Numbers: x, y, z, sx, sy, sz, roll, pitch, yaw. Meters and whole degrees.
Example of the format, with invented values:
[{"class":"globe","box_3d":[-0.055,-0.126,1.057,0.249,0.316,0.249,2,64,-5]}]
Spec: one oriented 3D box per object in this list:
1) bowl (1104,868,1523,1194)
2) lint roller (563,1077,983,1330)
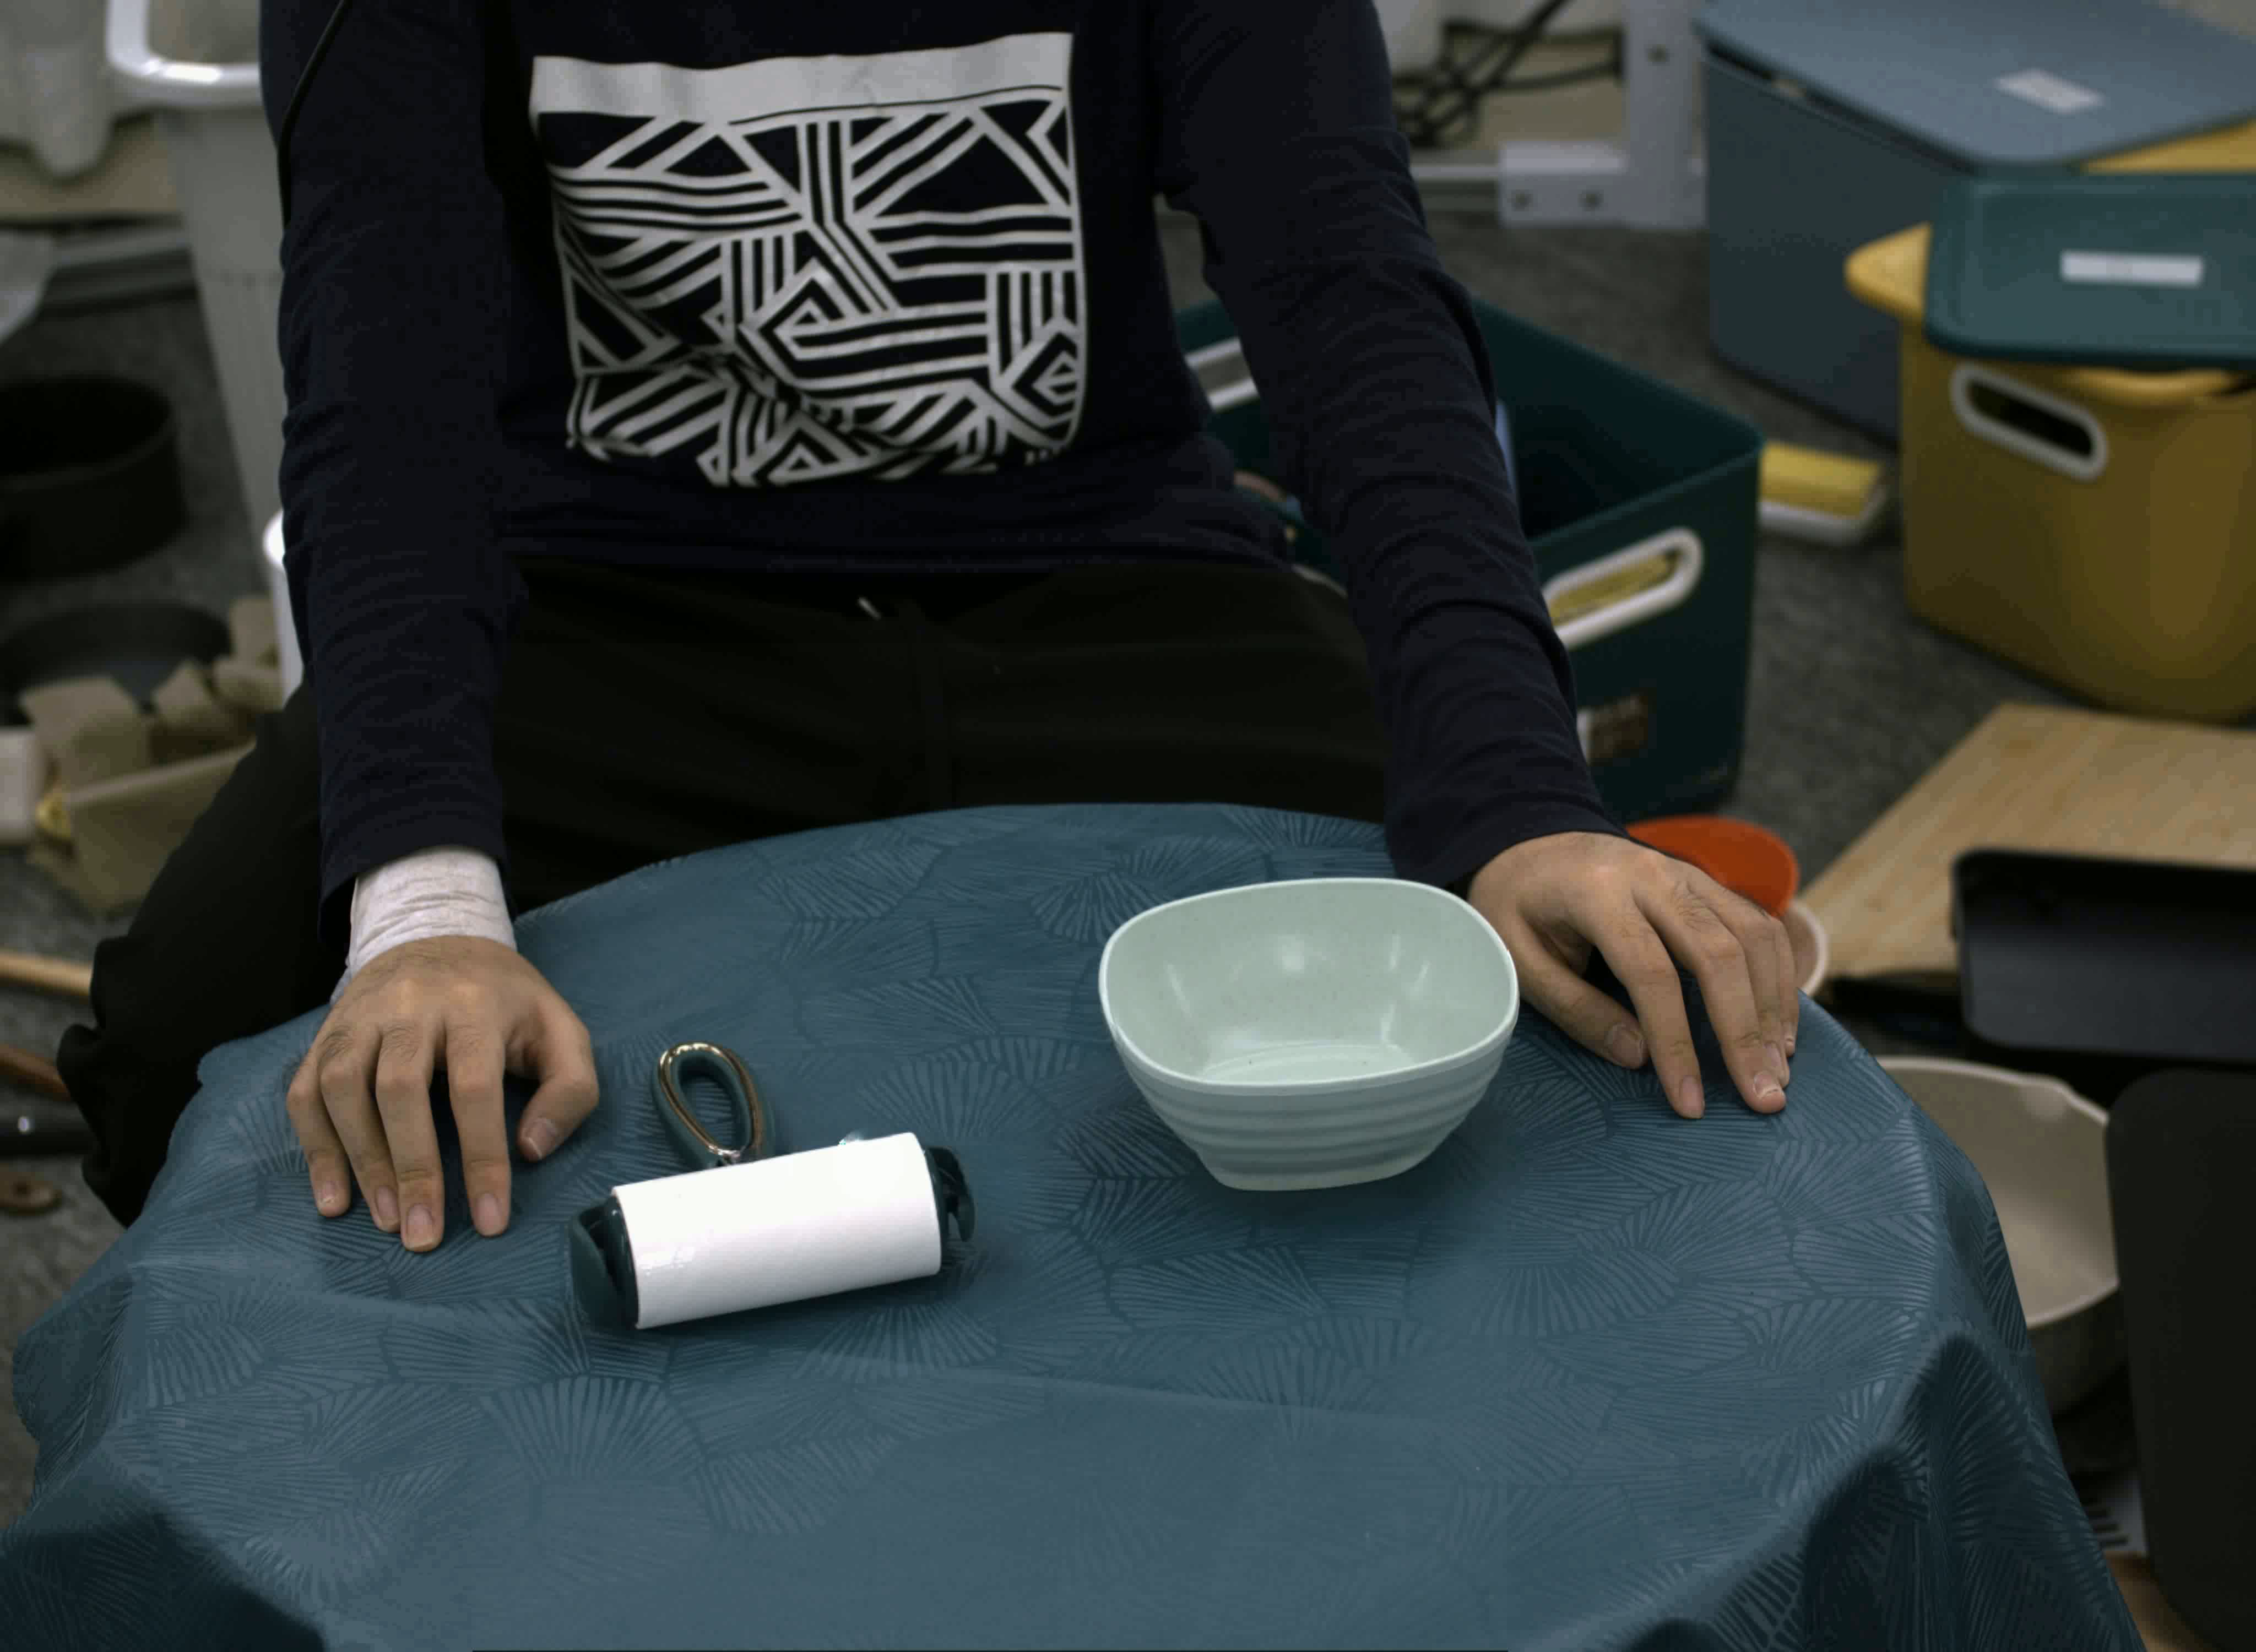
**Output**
[{"class":"bowl","box_3d":[0.063,0.075,1.884,0.150,0.058,0.154,-3,29,2]},{"class":"lint roller","box_3d":[-0.132,0.105,1.864,0.134,0.048,0.181,-10,25,-13]}]
